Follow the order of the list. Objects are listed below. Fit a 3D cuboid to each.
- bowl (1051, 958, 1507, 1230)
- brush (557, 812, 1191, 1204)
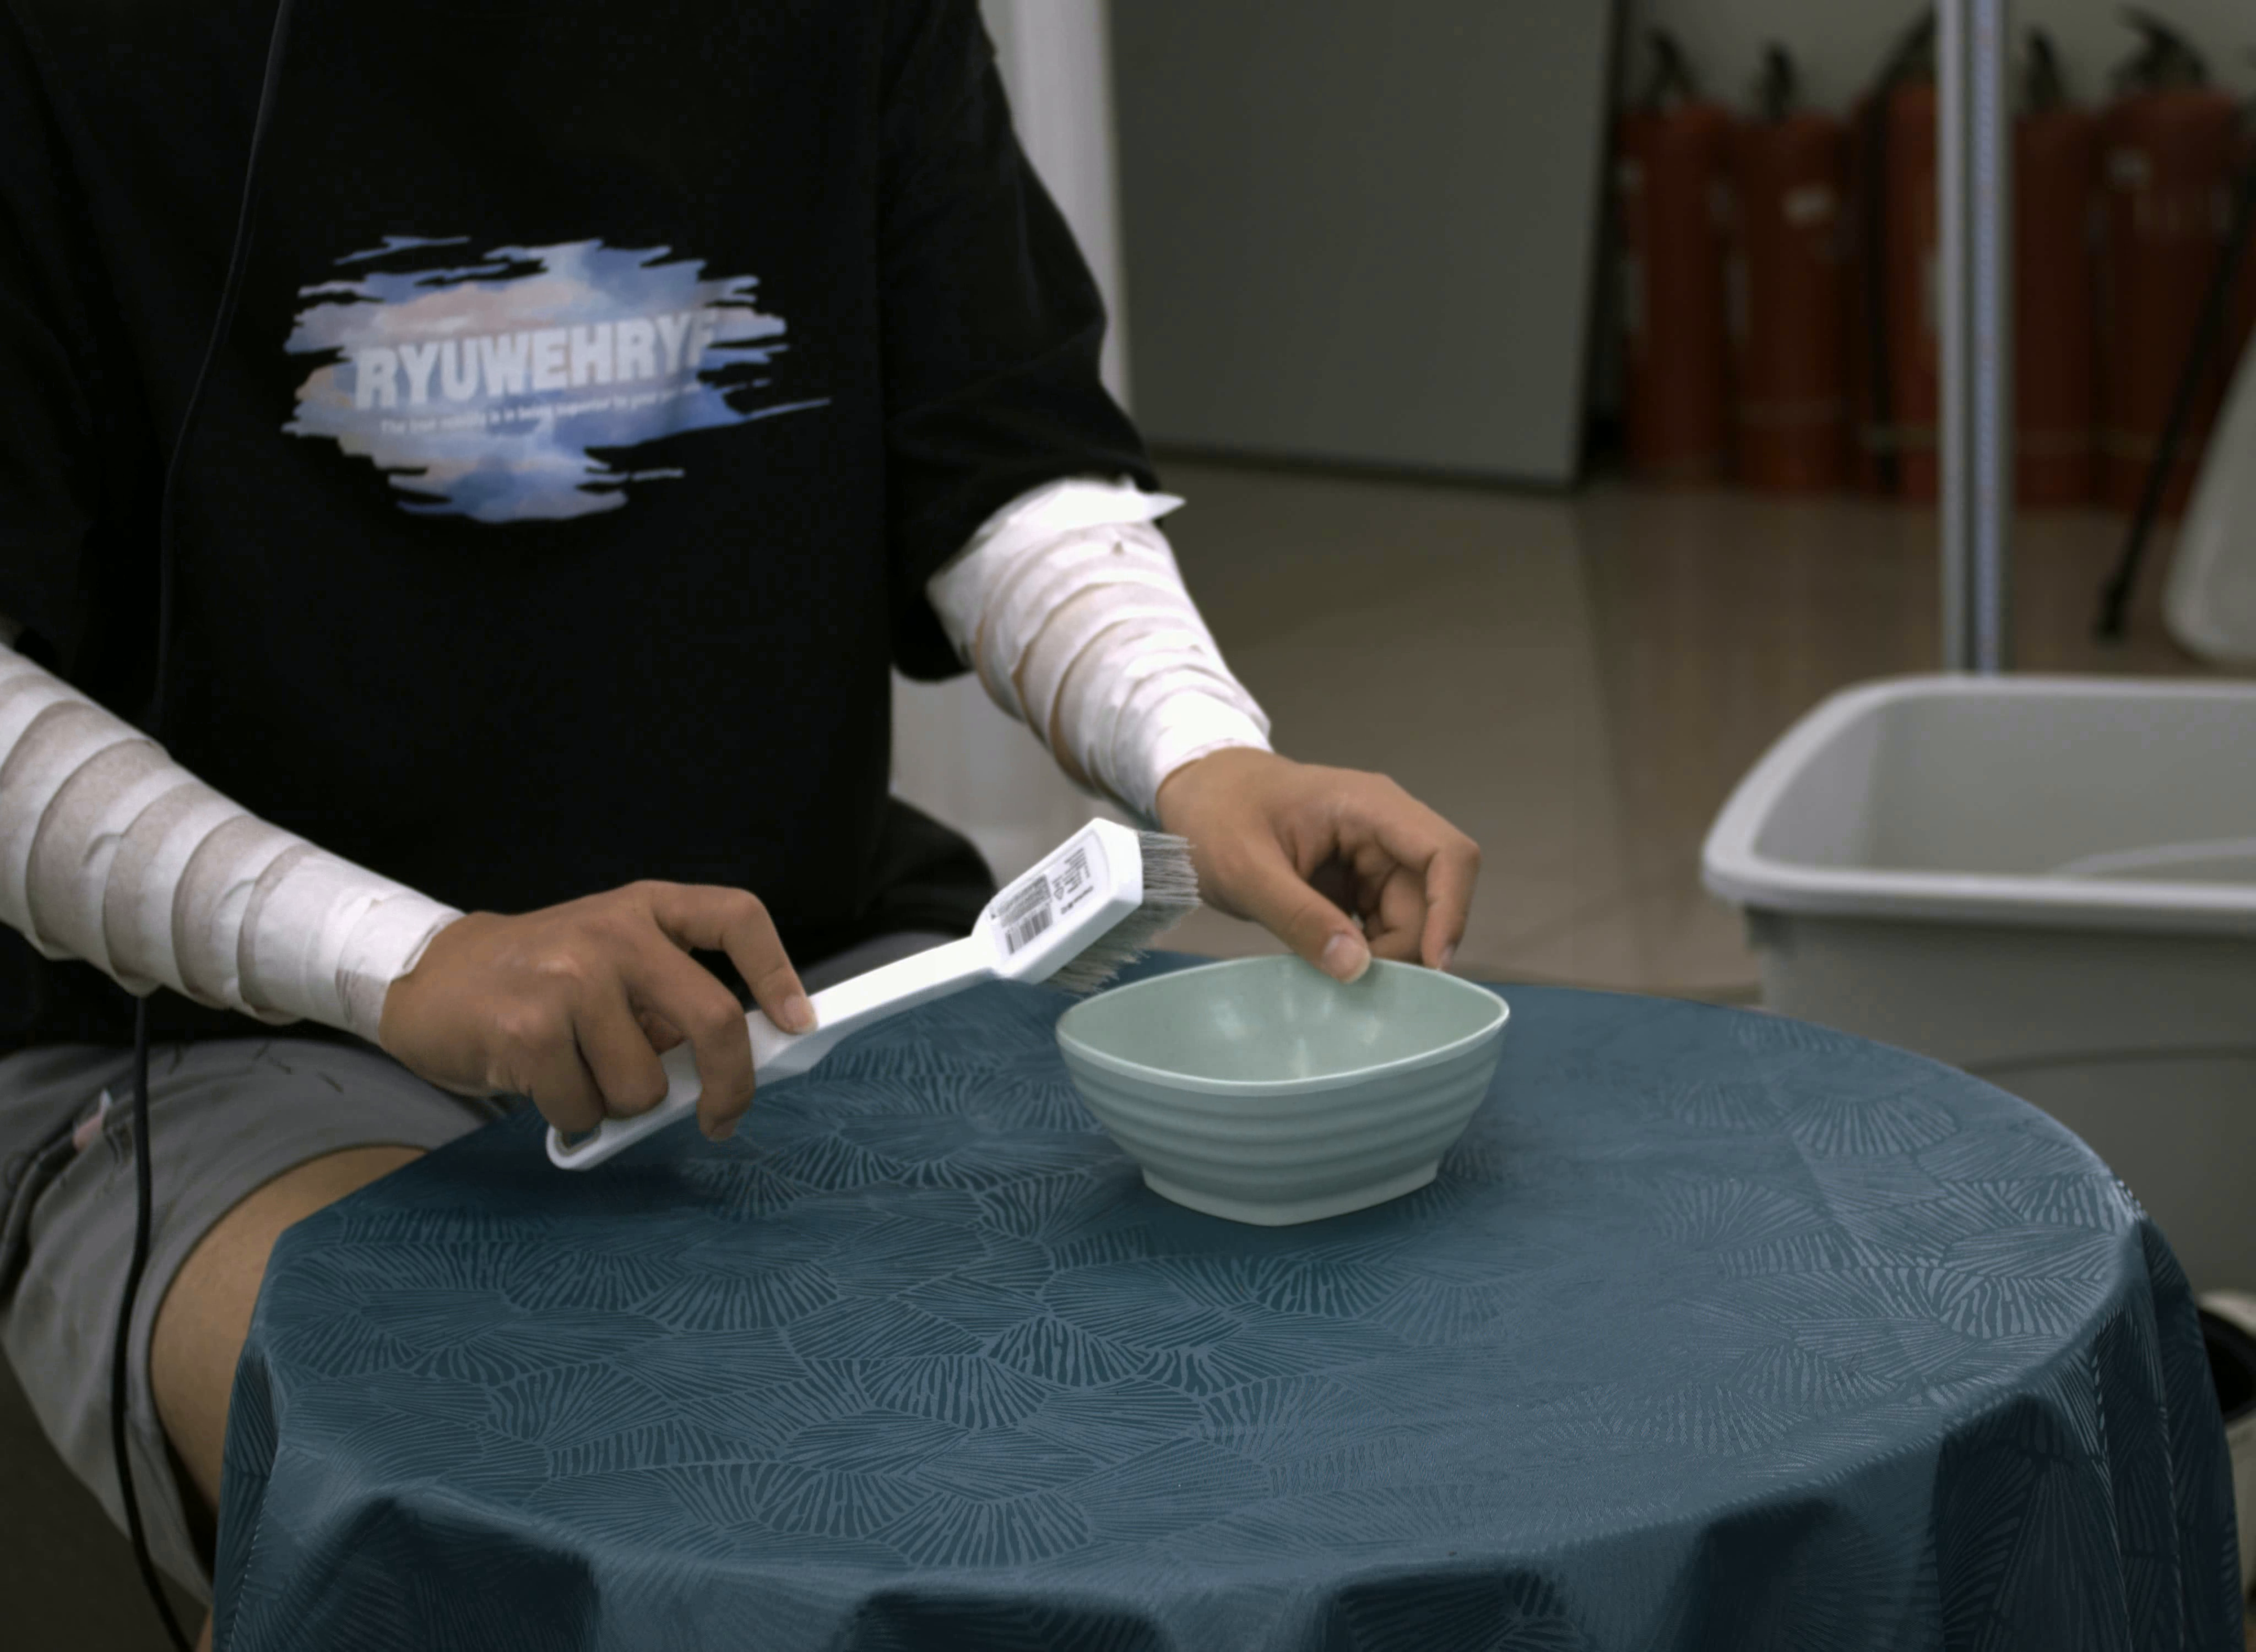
[{"bbox_3d":[0.050,0.090,1.765,0.149,0.059,0.151,-2,13,0],"label":"bowl"},{"bbox_3d":[-0.083,0.067,1.788,0.244,0.035,0.049,-32,-32,20],"label":"brush"}]
